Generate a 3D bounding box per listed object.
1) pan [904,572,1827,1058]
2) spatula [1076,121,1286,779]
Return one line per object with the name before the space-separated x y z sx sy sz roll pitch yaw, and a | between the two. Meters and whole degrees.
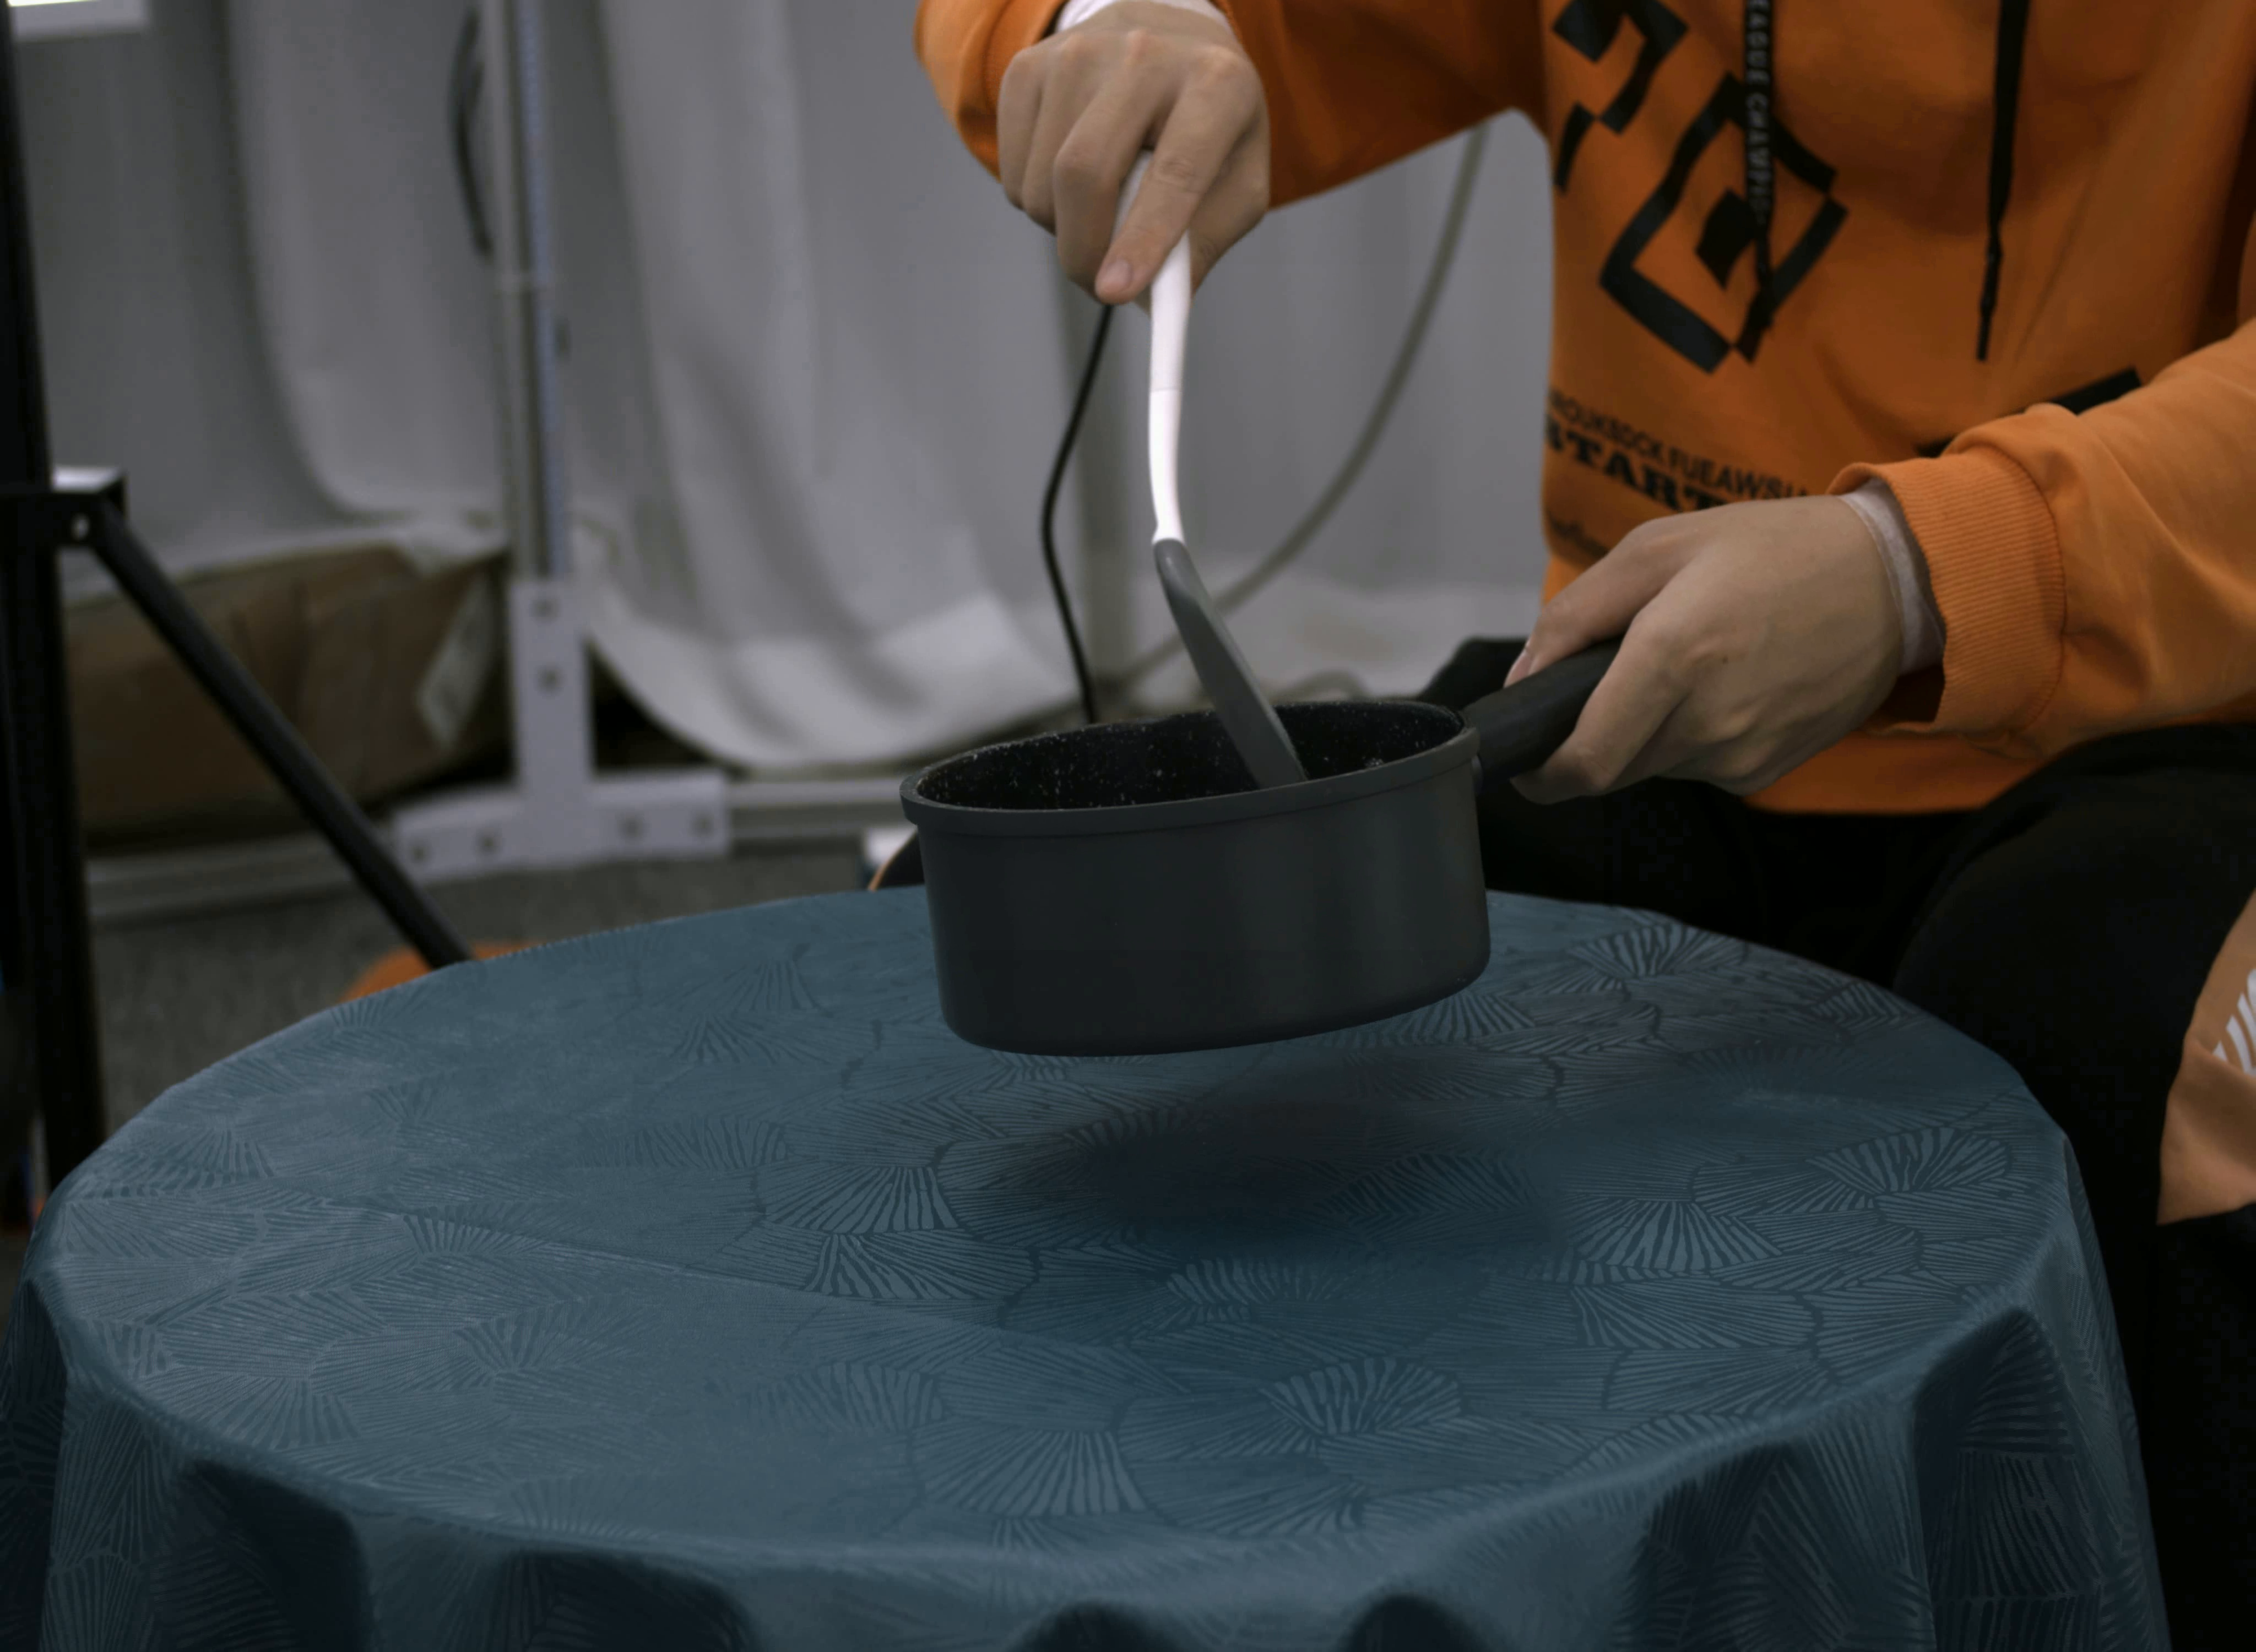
pan | 0.085 -0.004 1.600 0.321 0.086 0.176 -15 13 -33
spatula | 0.018 -0.112 1.656 0.032 0.058 0.292 -7 48 -5
